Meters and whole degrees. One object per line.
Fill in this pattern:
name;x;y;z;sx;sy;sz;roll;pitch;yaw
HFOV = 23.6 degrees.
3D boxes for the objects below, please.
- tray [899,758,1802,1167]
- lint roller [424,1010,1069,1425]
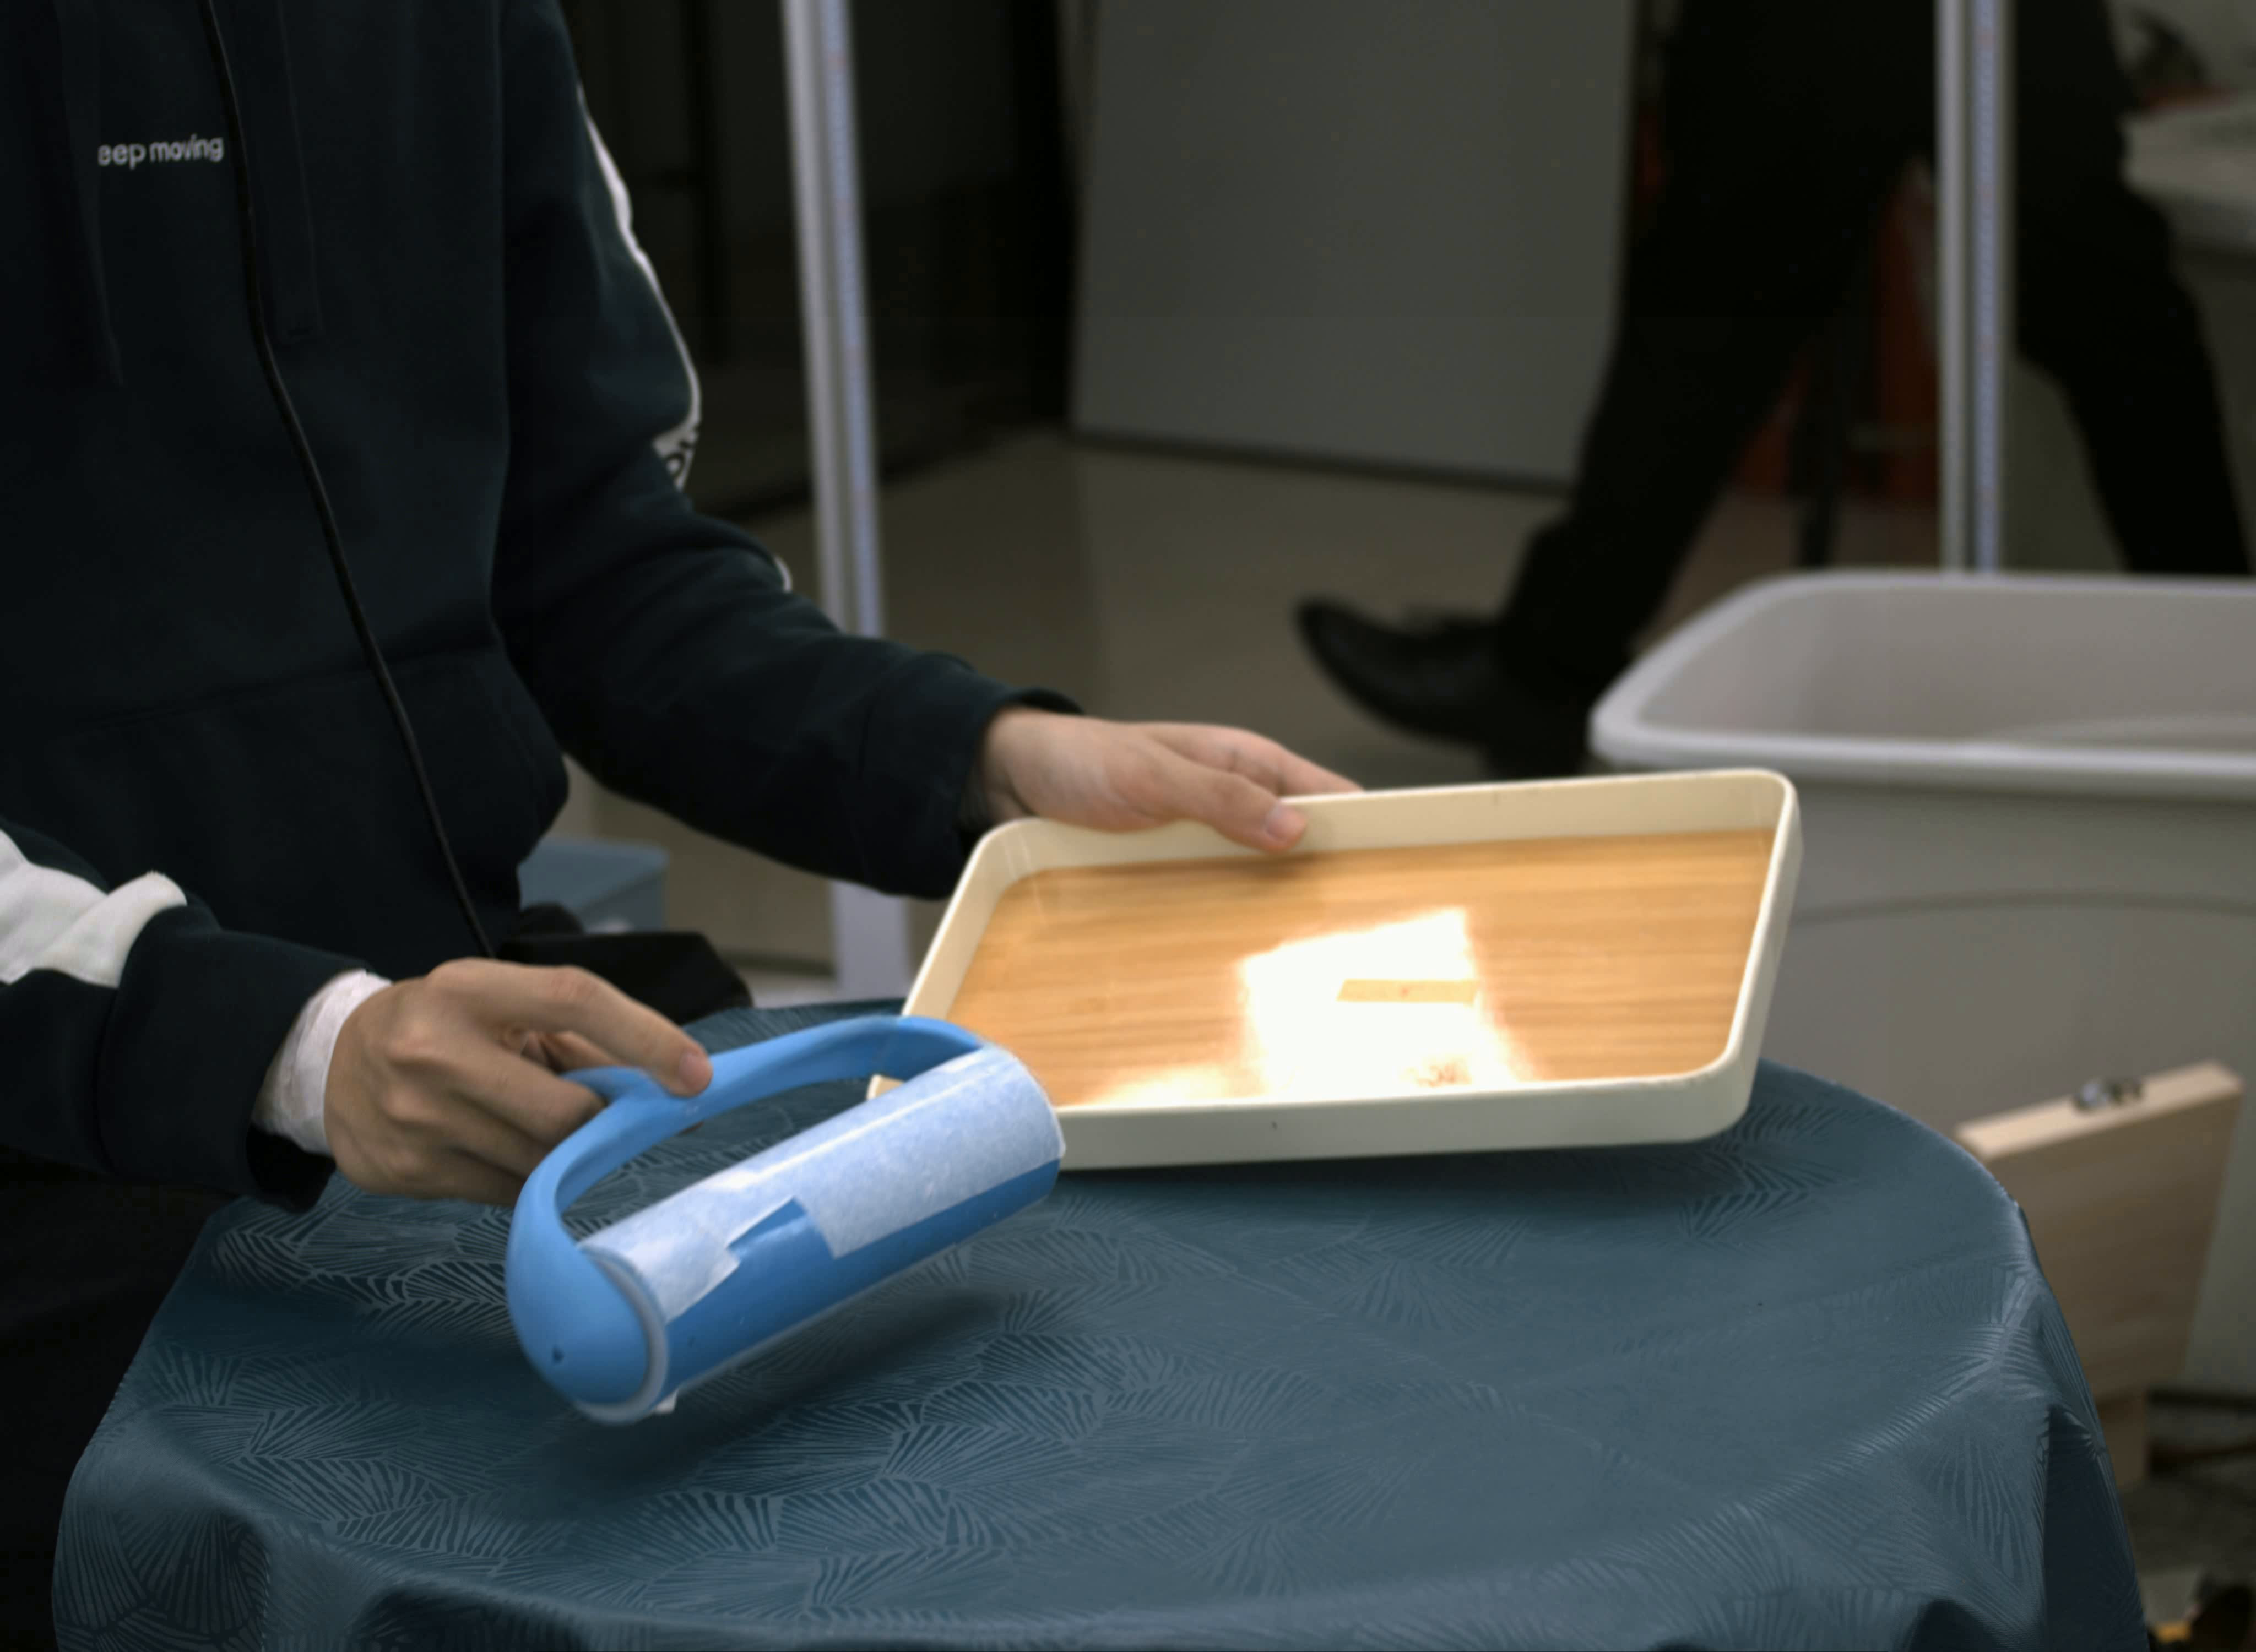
tray;0.072;0.047;1.825;0.300;0.027;0.191;-5;30;19
lint roller;-0.141;0.105;1.632;0.181;0.068;0.225;14;24;28
